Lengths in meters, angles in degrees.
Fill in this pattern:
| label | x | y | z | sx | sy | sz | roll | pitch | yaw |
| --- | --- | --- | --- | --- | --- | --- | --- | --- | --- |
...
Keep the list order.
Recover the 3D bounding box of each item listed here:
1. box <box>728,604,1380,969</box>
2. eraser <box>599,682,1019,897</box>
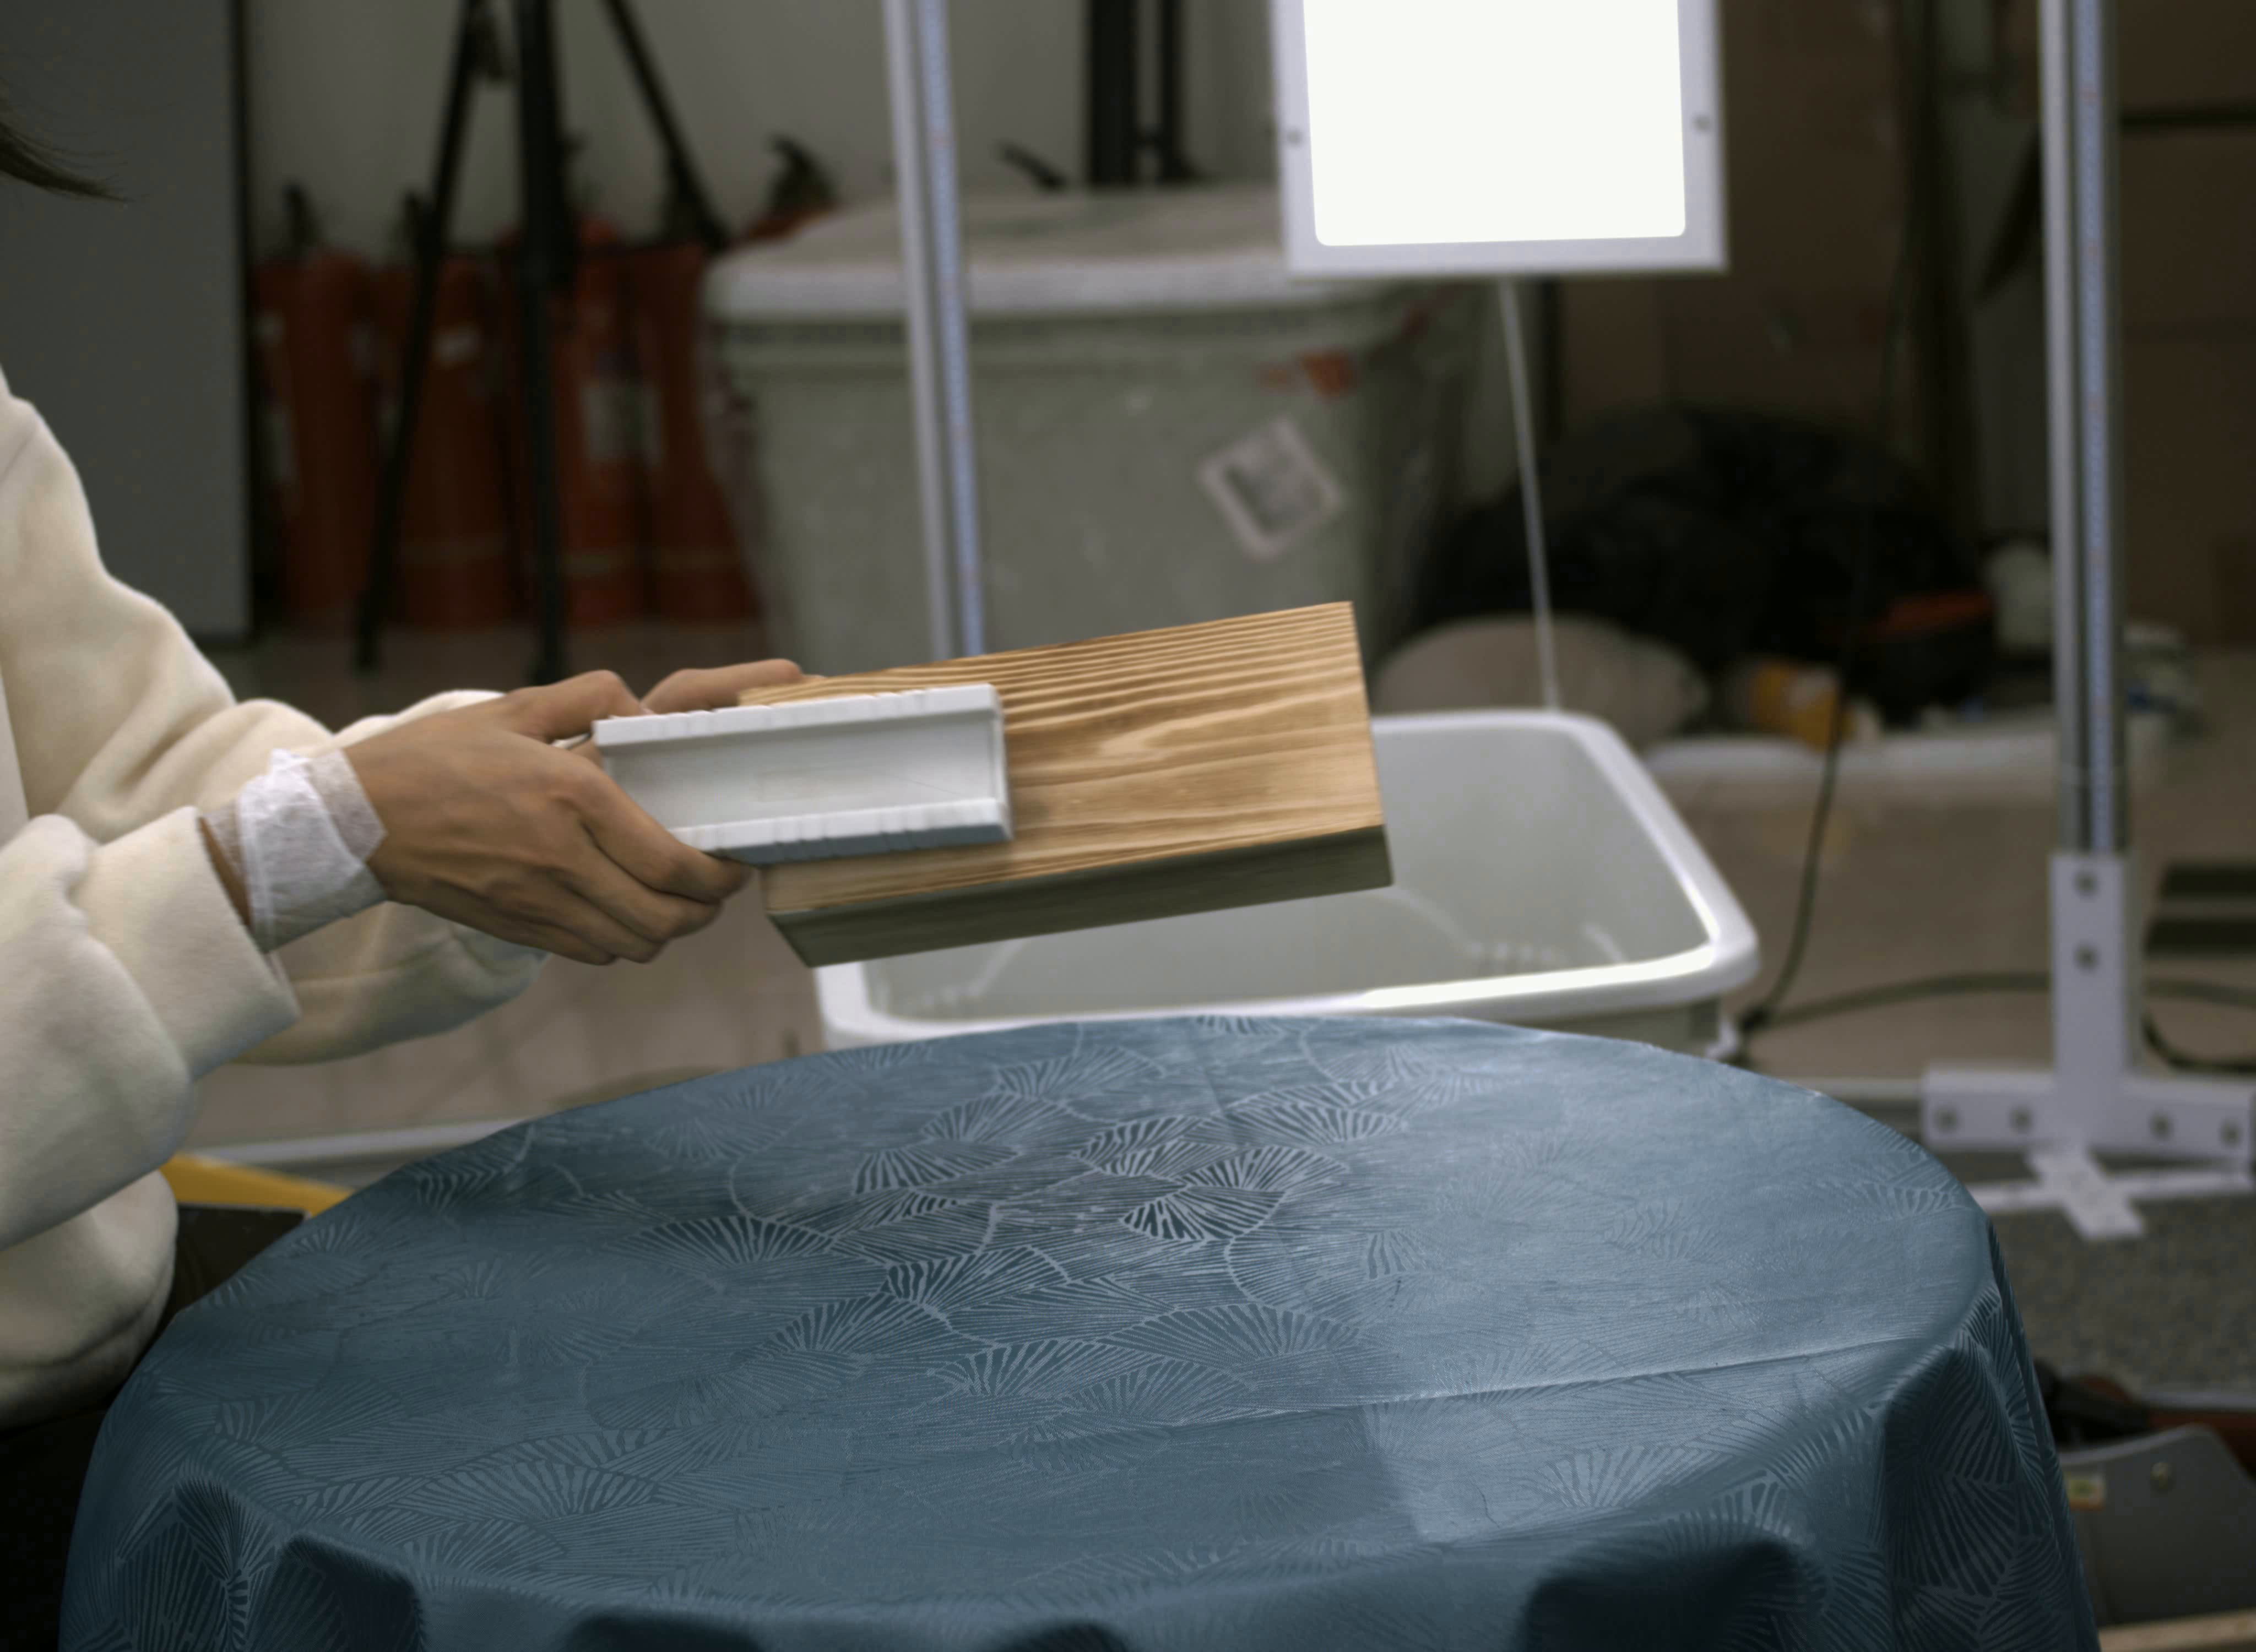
| label | x | y | z | sx | sy | sz | roll | pitch | yaw |
| --- | --- | --- | --- | --- | --- | --- | --- | --- | --- |
| box | -0.023 | -0.012 | 1.896 | 0.212 | 0.080 | 0.107 | -7 | -13 | 5 |
| eraser | -0.105 | -0.011 | 1.828 | 0.134 | 0.050 | 0.046 | -7 | -11 | 6 |
